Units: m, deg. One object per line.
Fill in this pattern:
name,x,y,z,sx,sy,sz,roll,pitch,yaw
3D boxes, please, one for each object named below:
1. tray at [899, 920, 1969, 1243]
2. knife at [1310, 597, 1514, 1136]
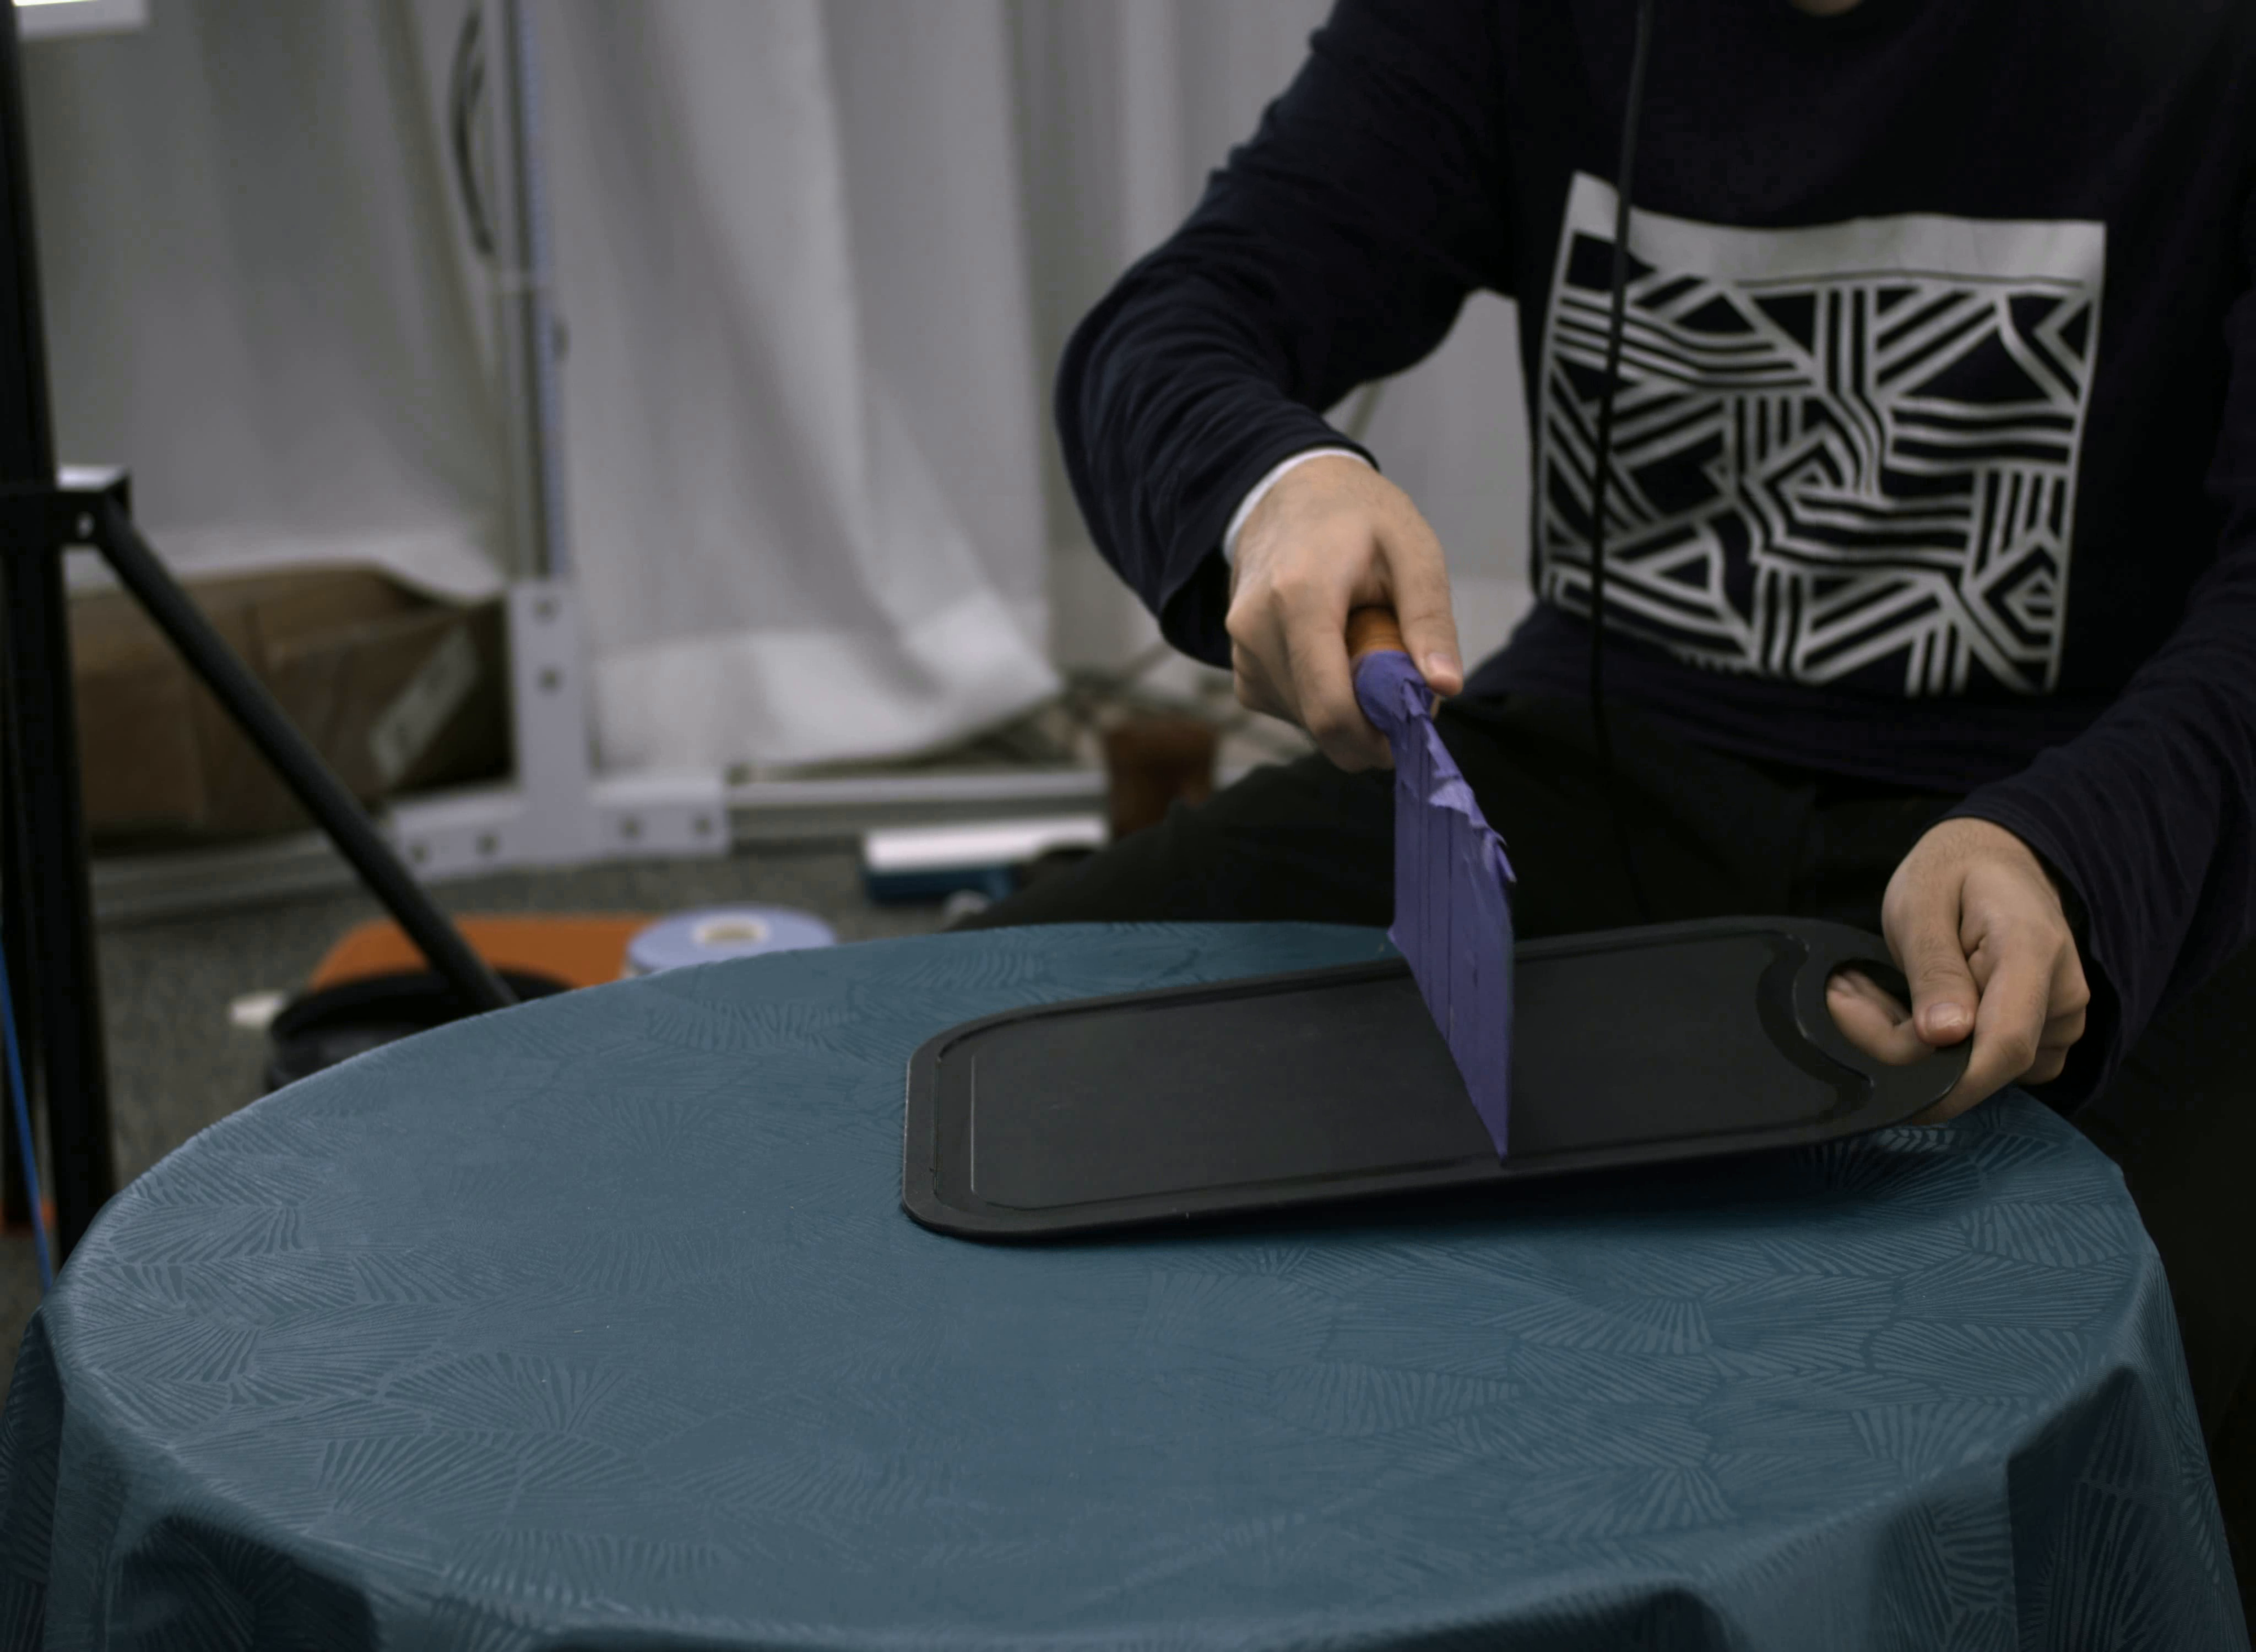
tray,0.092,0.073,1.613,0.324,0.010,0.212,-7,17,3
knife,0.088,0.010,1.652,0.032,0.104,0.317,1,17,-5
